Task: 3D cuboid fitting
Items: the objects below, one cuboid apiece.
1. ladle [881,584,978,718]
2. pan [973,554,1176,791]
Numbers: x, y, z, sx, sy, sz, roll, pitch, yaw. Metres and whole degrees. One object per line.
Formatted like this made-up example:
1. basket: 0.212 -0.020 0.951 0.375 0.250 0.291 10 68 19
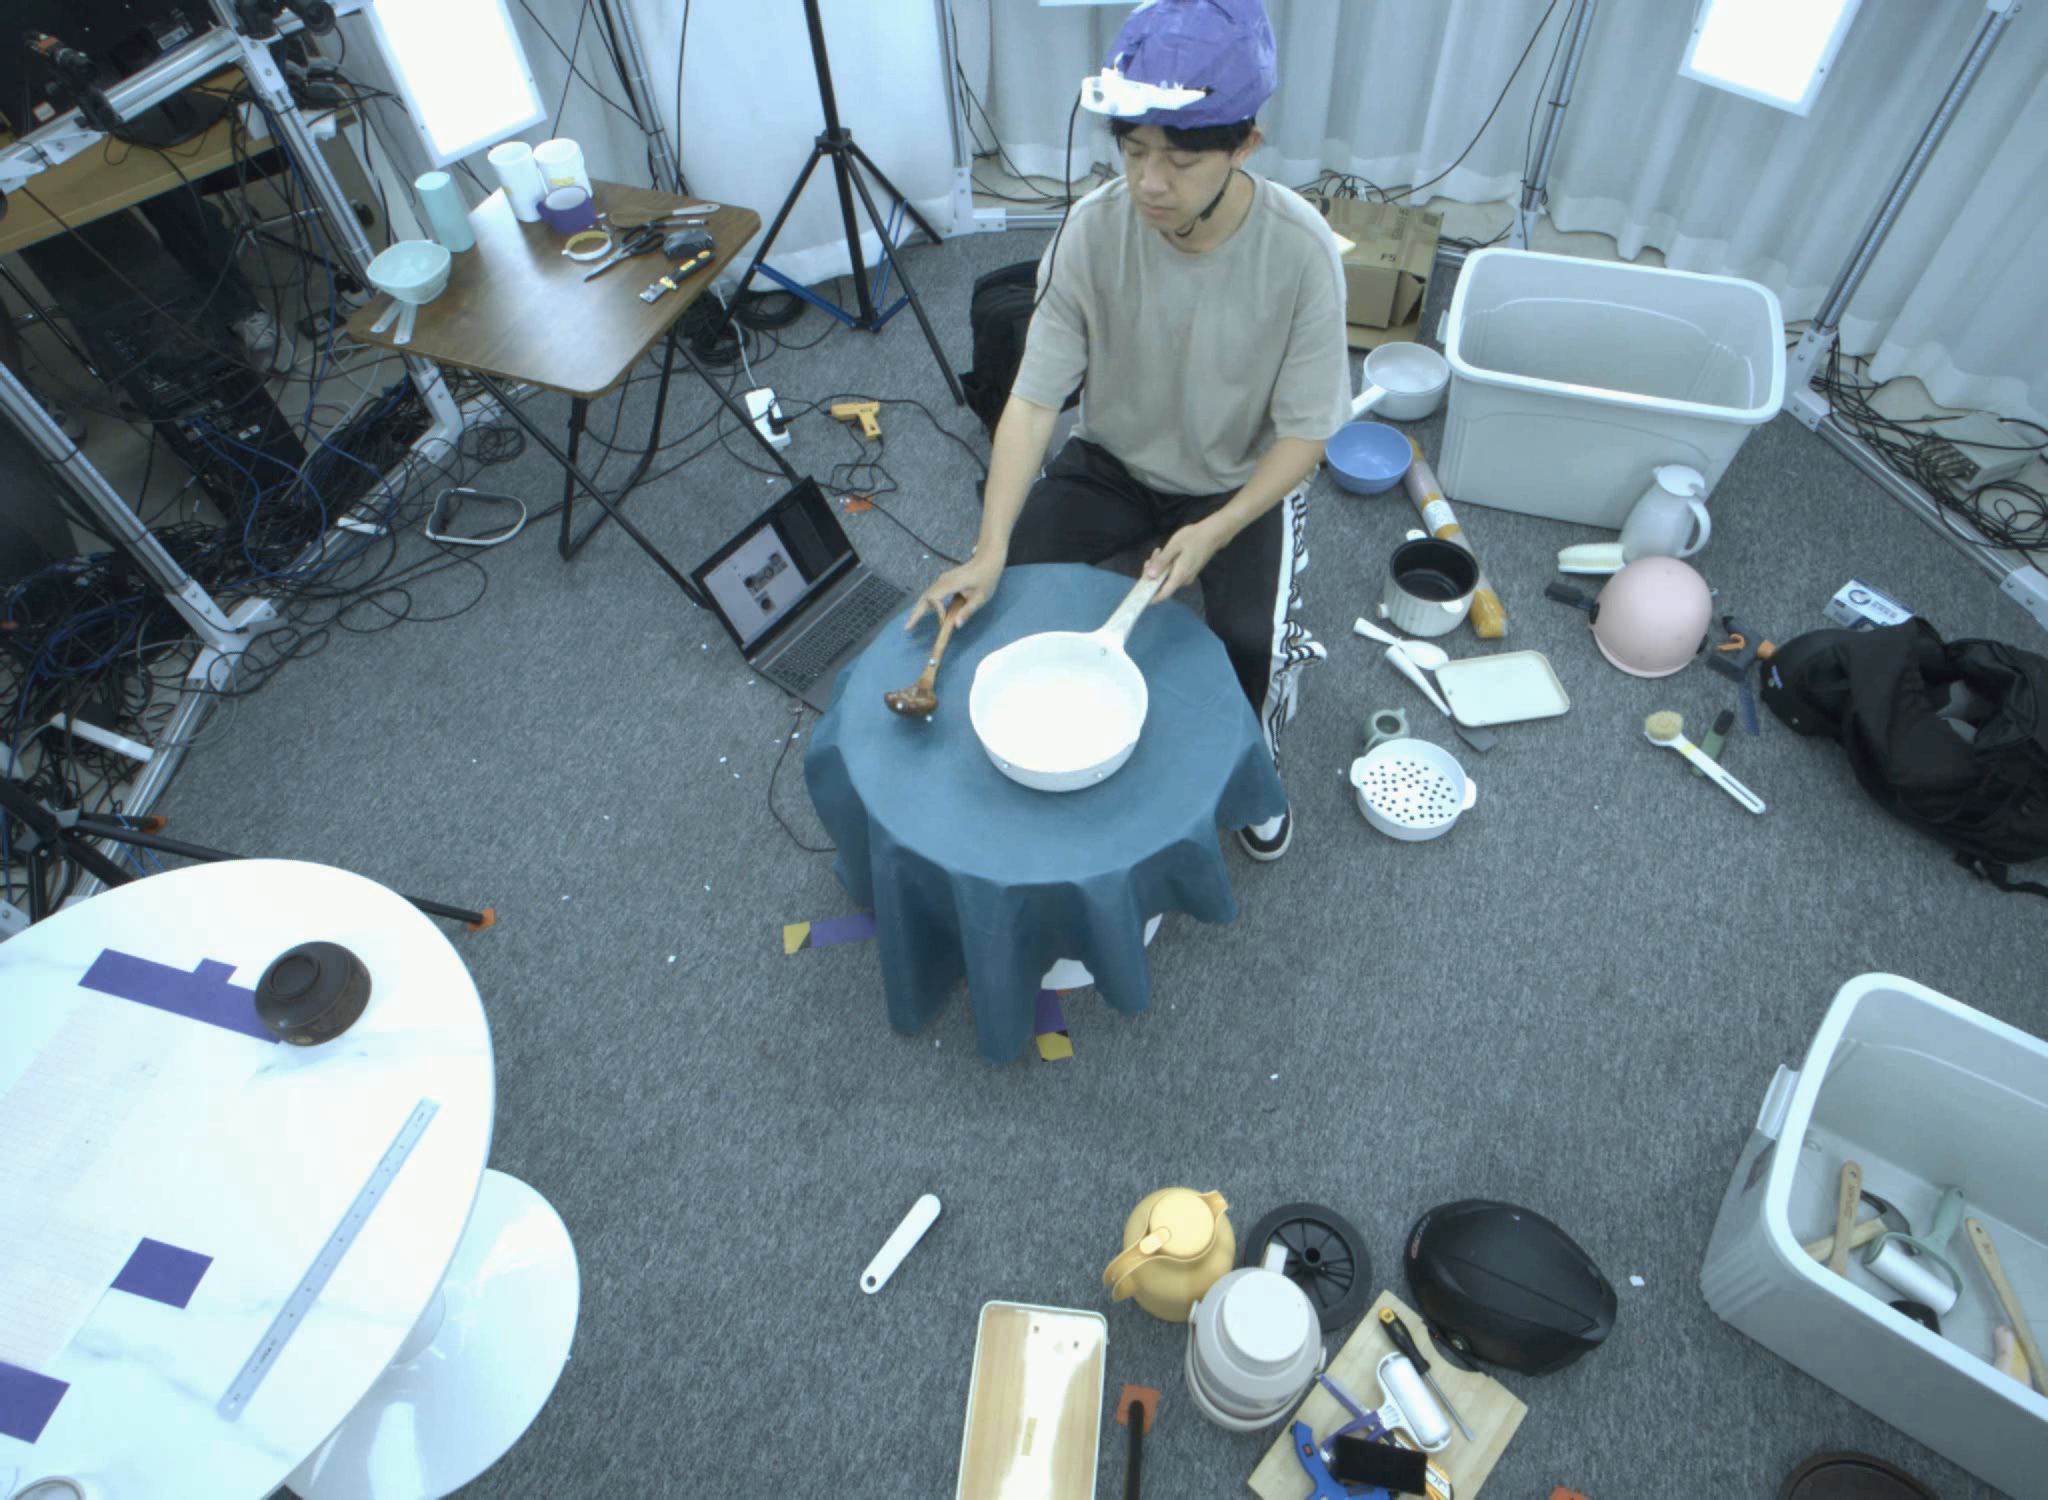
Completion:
1. ladle: -0.134 -0.160 1.830 0.081 0.077 0.273 17 63 10
2. pan: 0.106 -0.116 1.801 0.259 0.103 0.436 27 60 21
